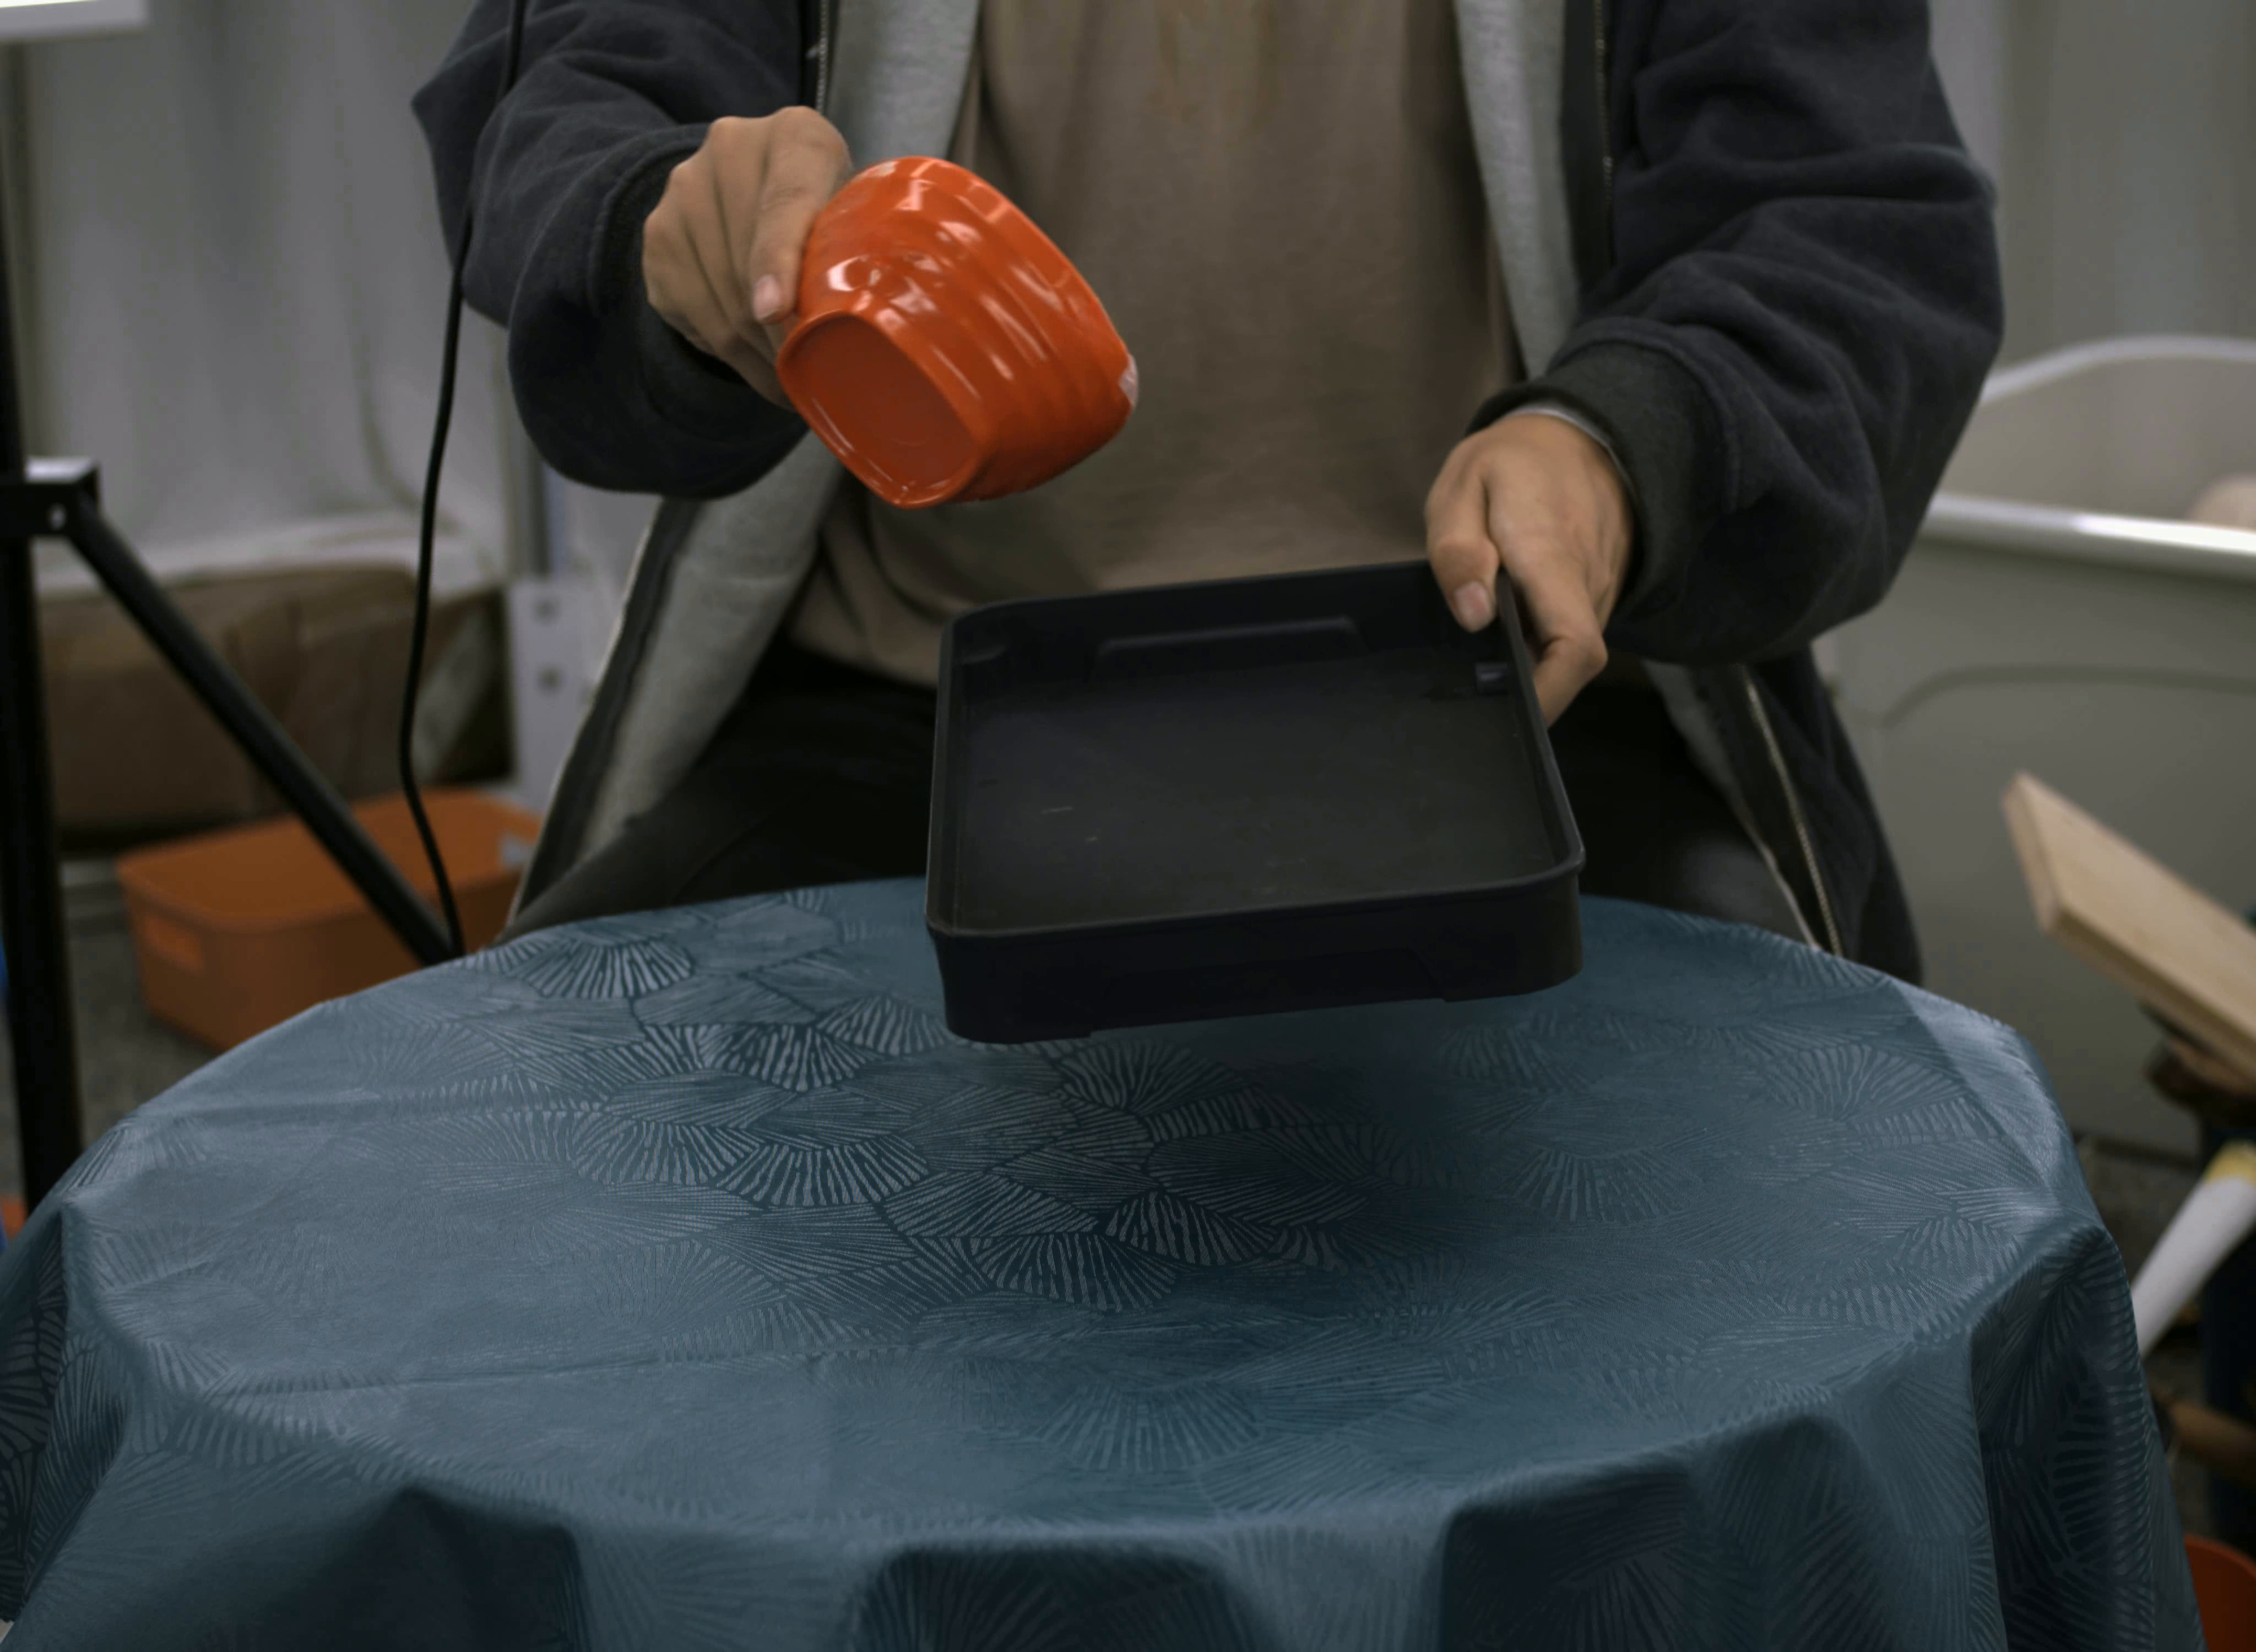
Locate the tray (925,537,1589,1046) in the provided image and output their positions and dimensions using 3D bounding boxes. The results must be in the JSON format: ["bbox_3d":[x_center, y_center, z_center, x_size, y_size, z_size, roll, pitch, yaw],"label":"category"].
[{"bbox_3d":[0.034,-0.016,1.590,0.184,0.037,0.320,-6,20,1],"label":"tray"}]

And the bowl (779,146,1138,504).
[{"bbox_3d":[-0.059,-0.139,1.581,0.121,0.117,0.051,13,49,41],"label":"bowl"}]
